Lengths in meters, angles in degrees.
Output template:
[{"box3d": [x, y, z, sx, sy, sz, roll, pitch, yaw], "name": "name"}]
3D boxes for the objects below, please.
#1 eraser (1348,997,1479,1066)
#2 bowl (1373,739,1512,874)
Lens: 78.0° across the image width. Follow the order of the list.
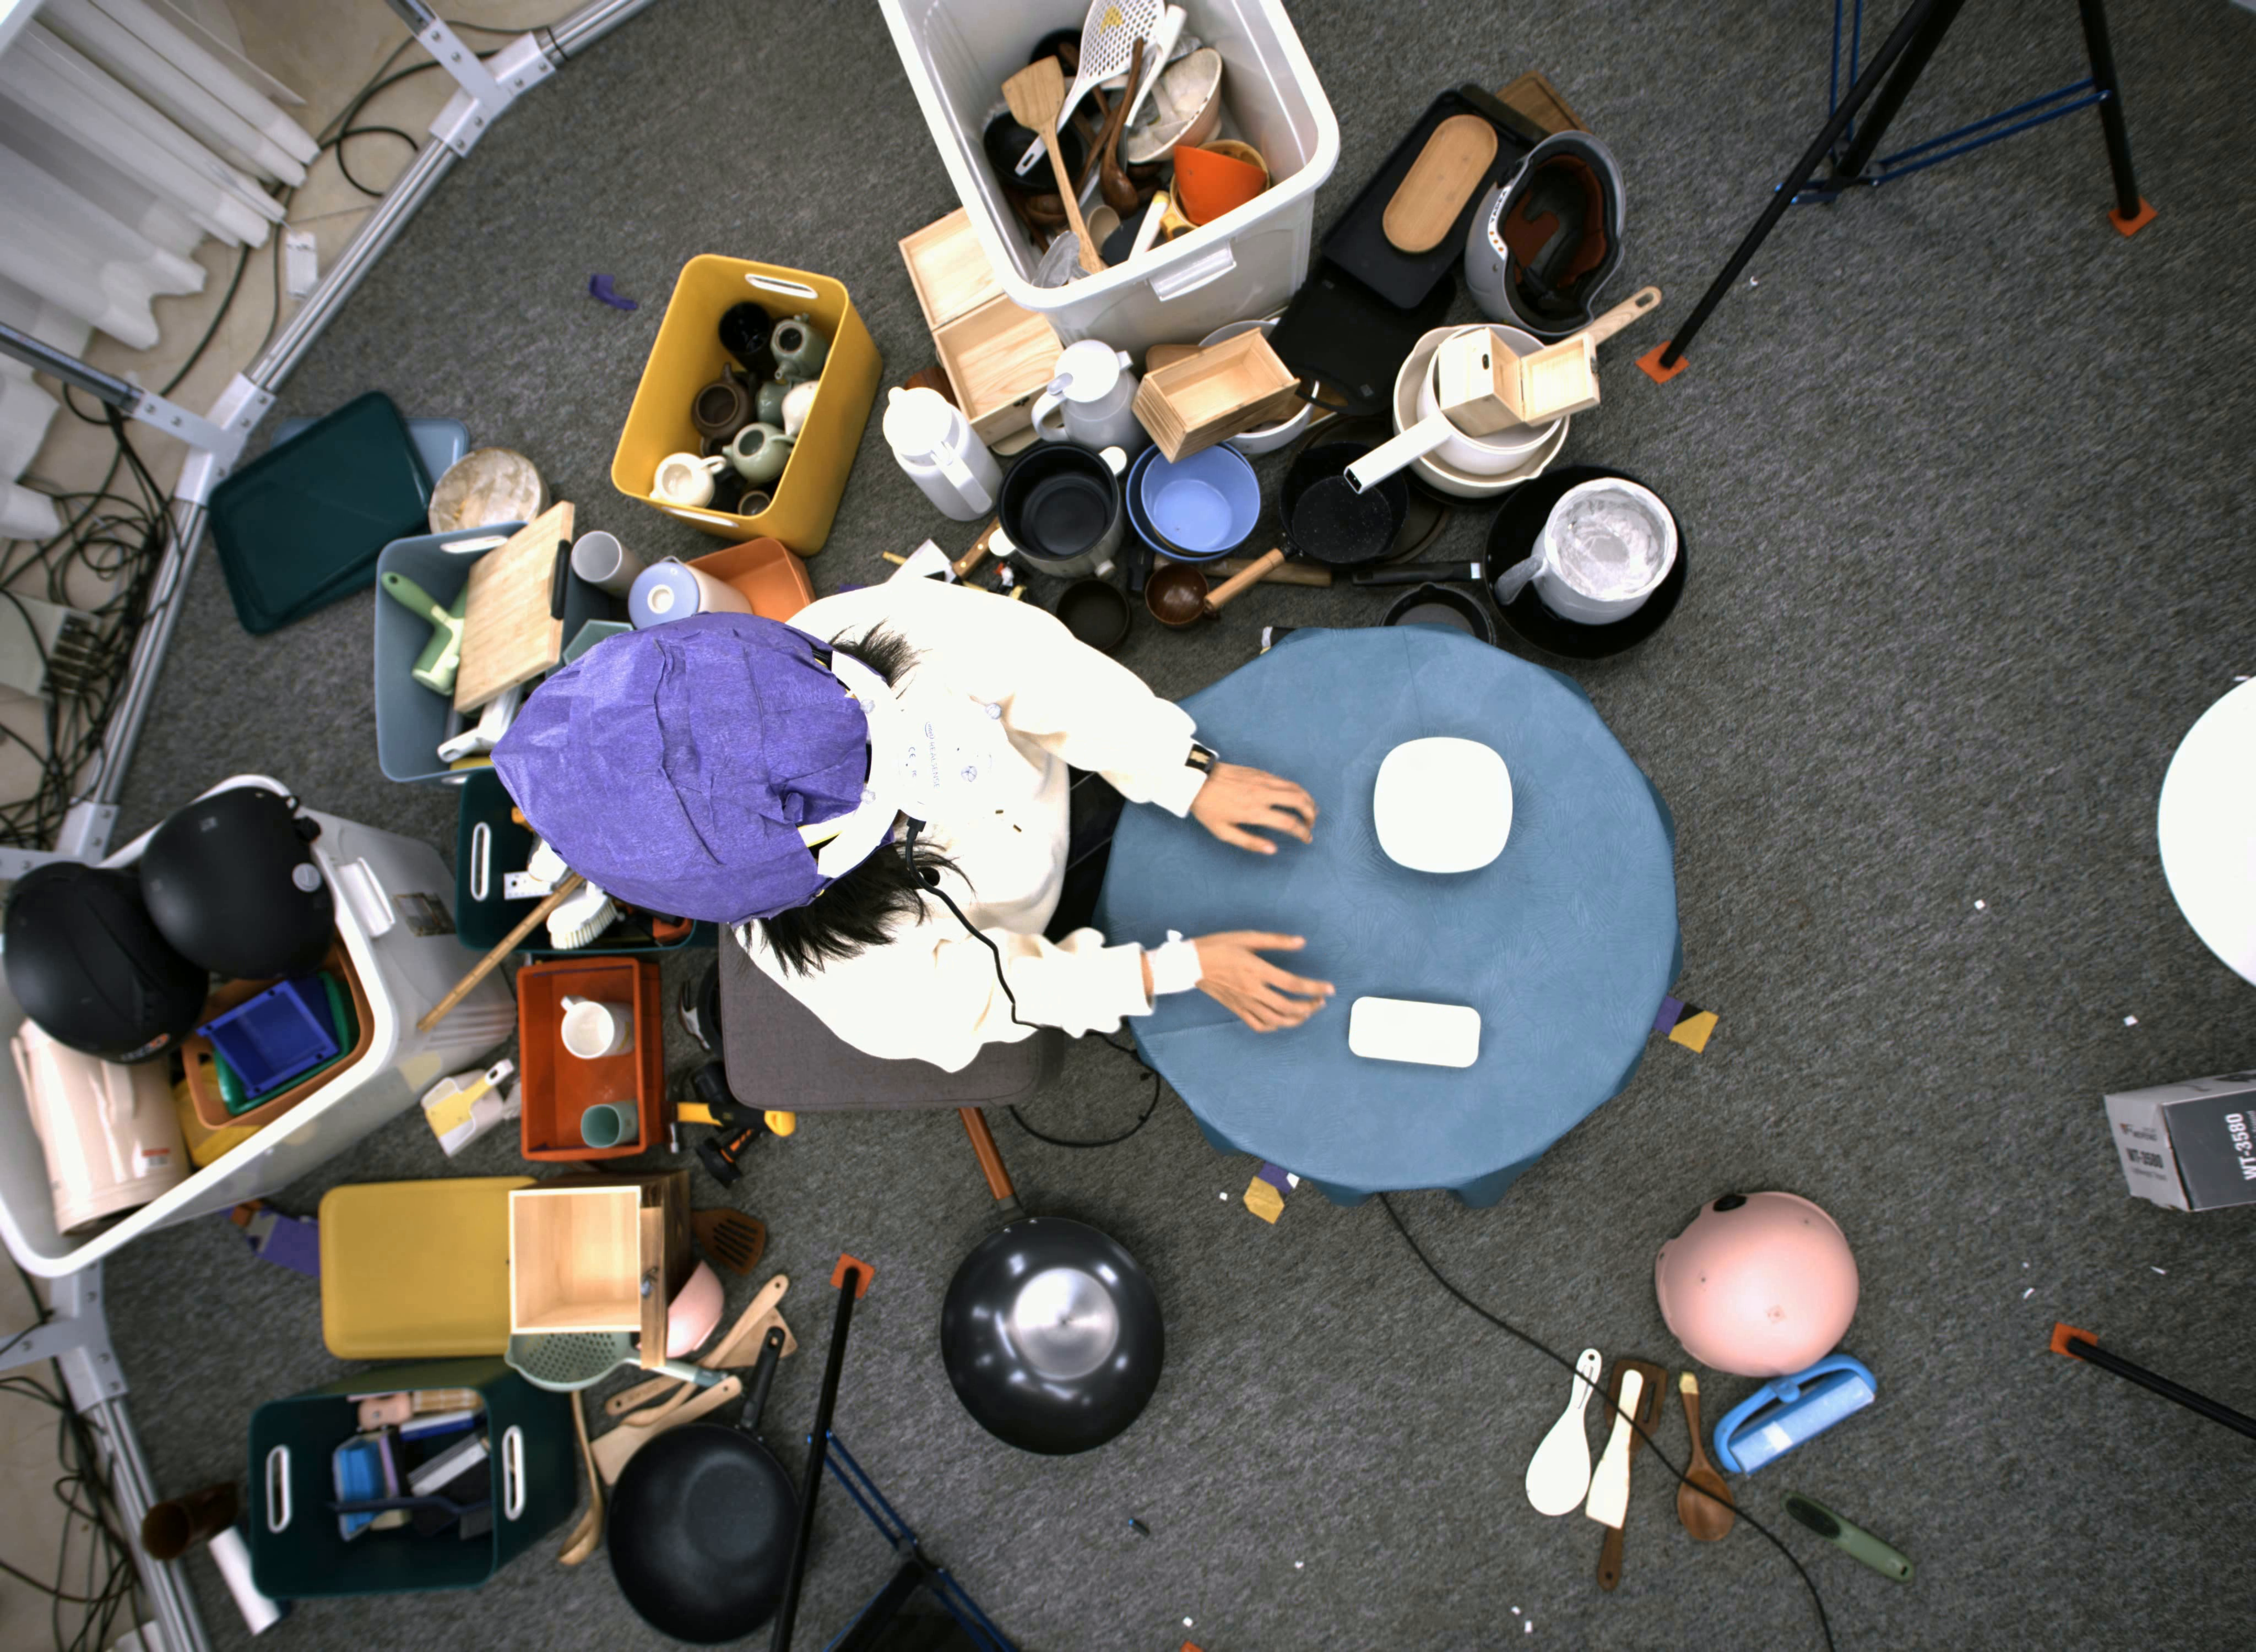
[{"box3d": [0.295, 0.209, 1.432, 0.131, 0.034, 0.063, 5, 87, 10], "name": "eraser"}, {"box3d": [0.325, -0.018, 1.427, 0.152, 0.059, 0.150, -1, 84, 11], "name": "bowl"}]
